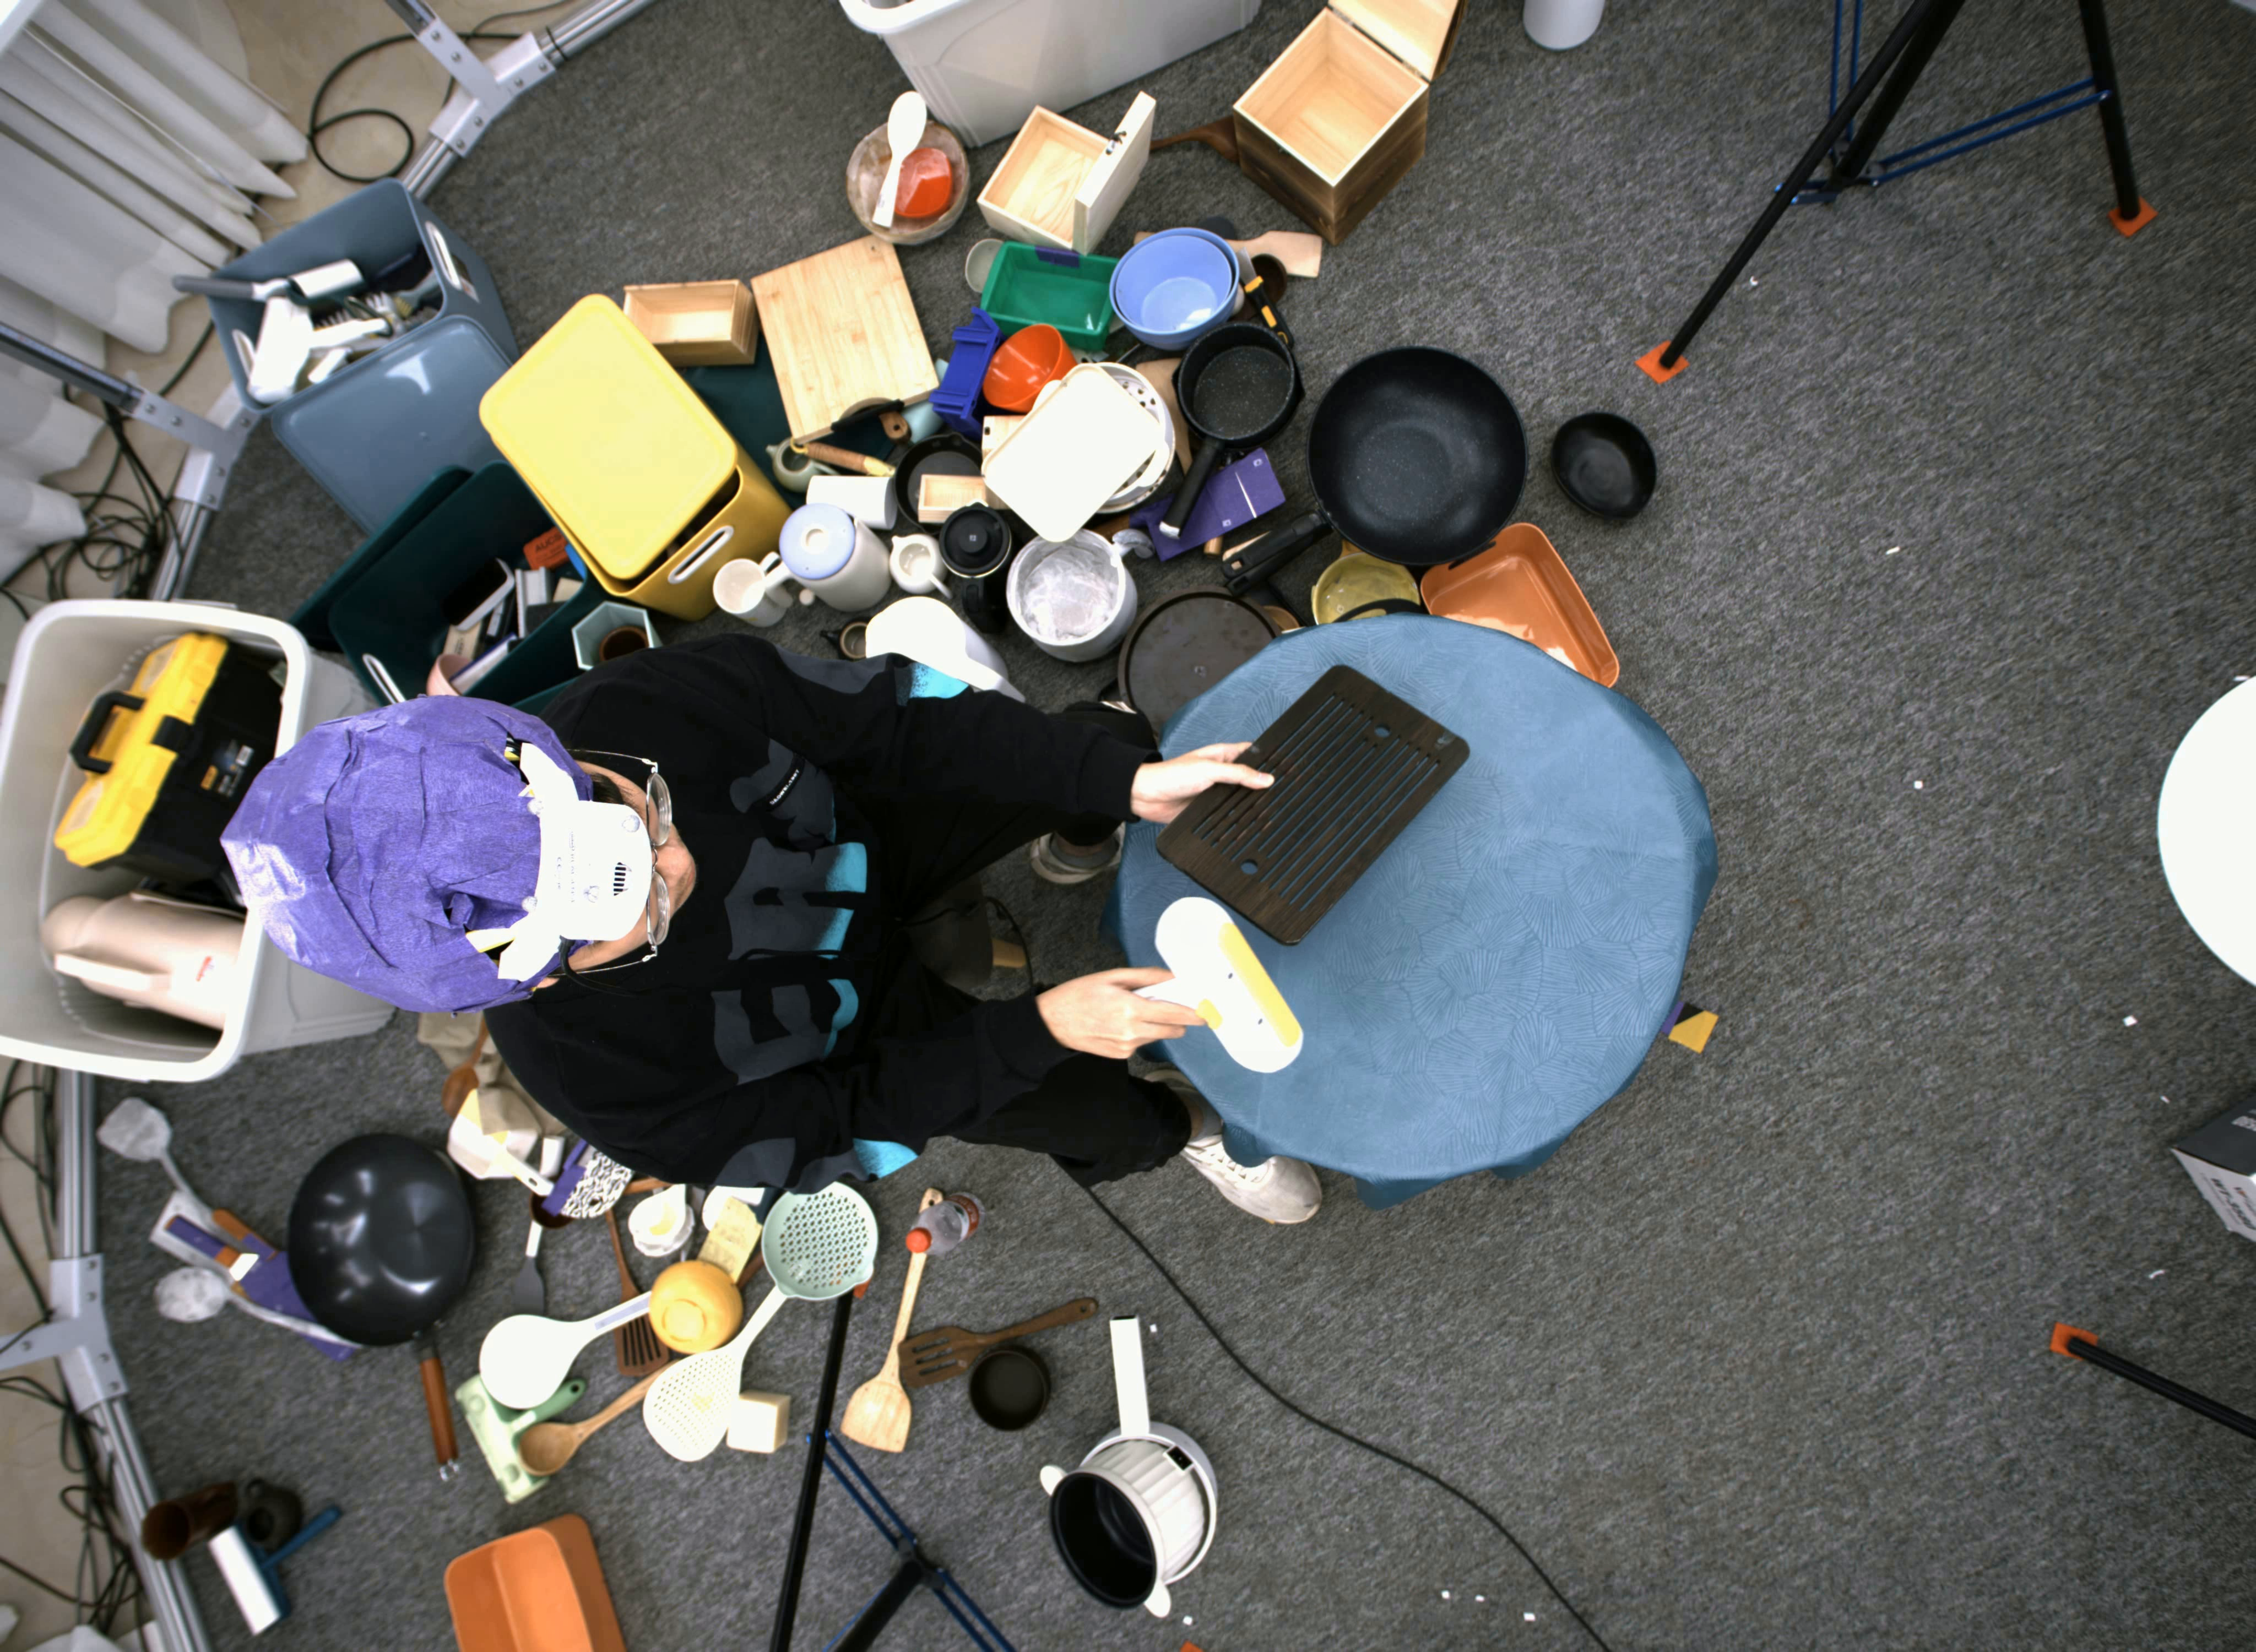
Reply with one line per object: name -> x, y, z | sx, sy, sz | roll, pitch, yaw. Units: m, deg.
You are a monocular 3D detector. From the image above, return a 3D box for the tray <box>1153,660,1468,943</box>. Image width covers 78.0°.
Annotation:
tray -> 0.179, -0.031, 1.329 | 0.169, 0.019, 0.301 | 37, 65, 20

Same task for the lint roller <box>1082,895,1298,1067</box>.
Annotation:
lint roller -> 0.040, 0.157, 1.286 | 0.195, 0.072, 0.195 | -14, 127, 42
